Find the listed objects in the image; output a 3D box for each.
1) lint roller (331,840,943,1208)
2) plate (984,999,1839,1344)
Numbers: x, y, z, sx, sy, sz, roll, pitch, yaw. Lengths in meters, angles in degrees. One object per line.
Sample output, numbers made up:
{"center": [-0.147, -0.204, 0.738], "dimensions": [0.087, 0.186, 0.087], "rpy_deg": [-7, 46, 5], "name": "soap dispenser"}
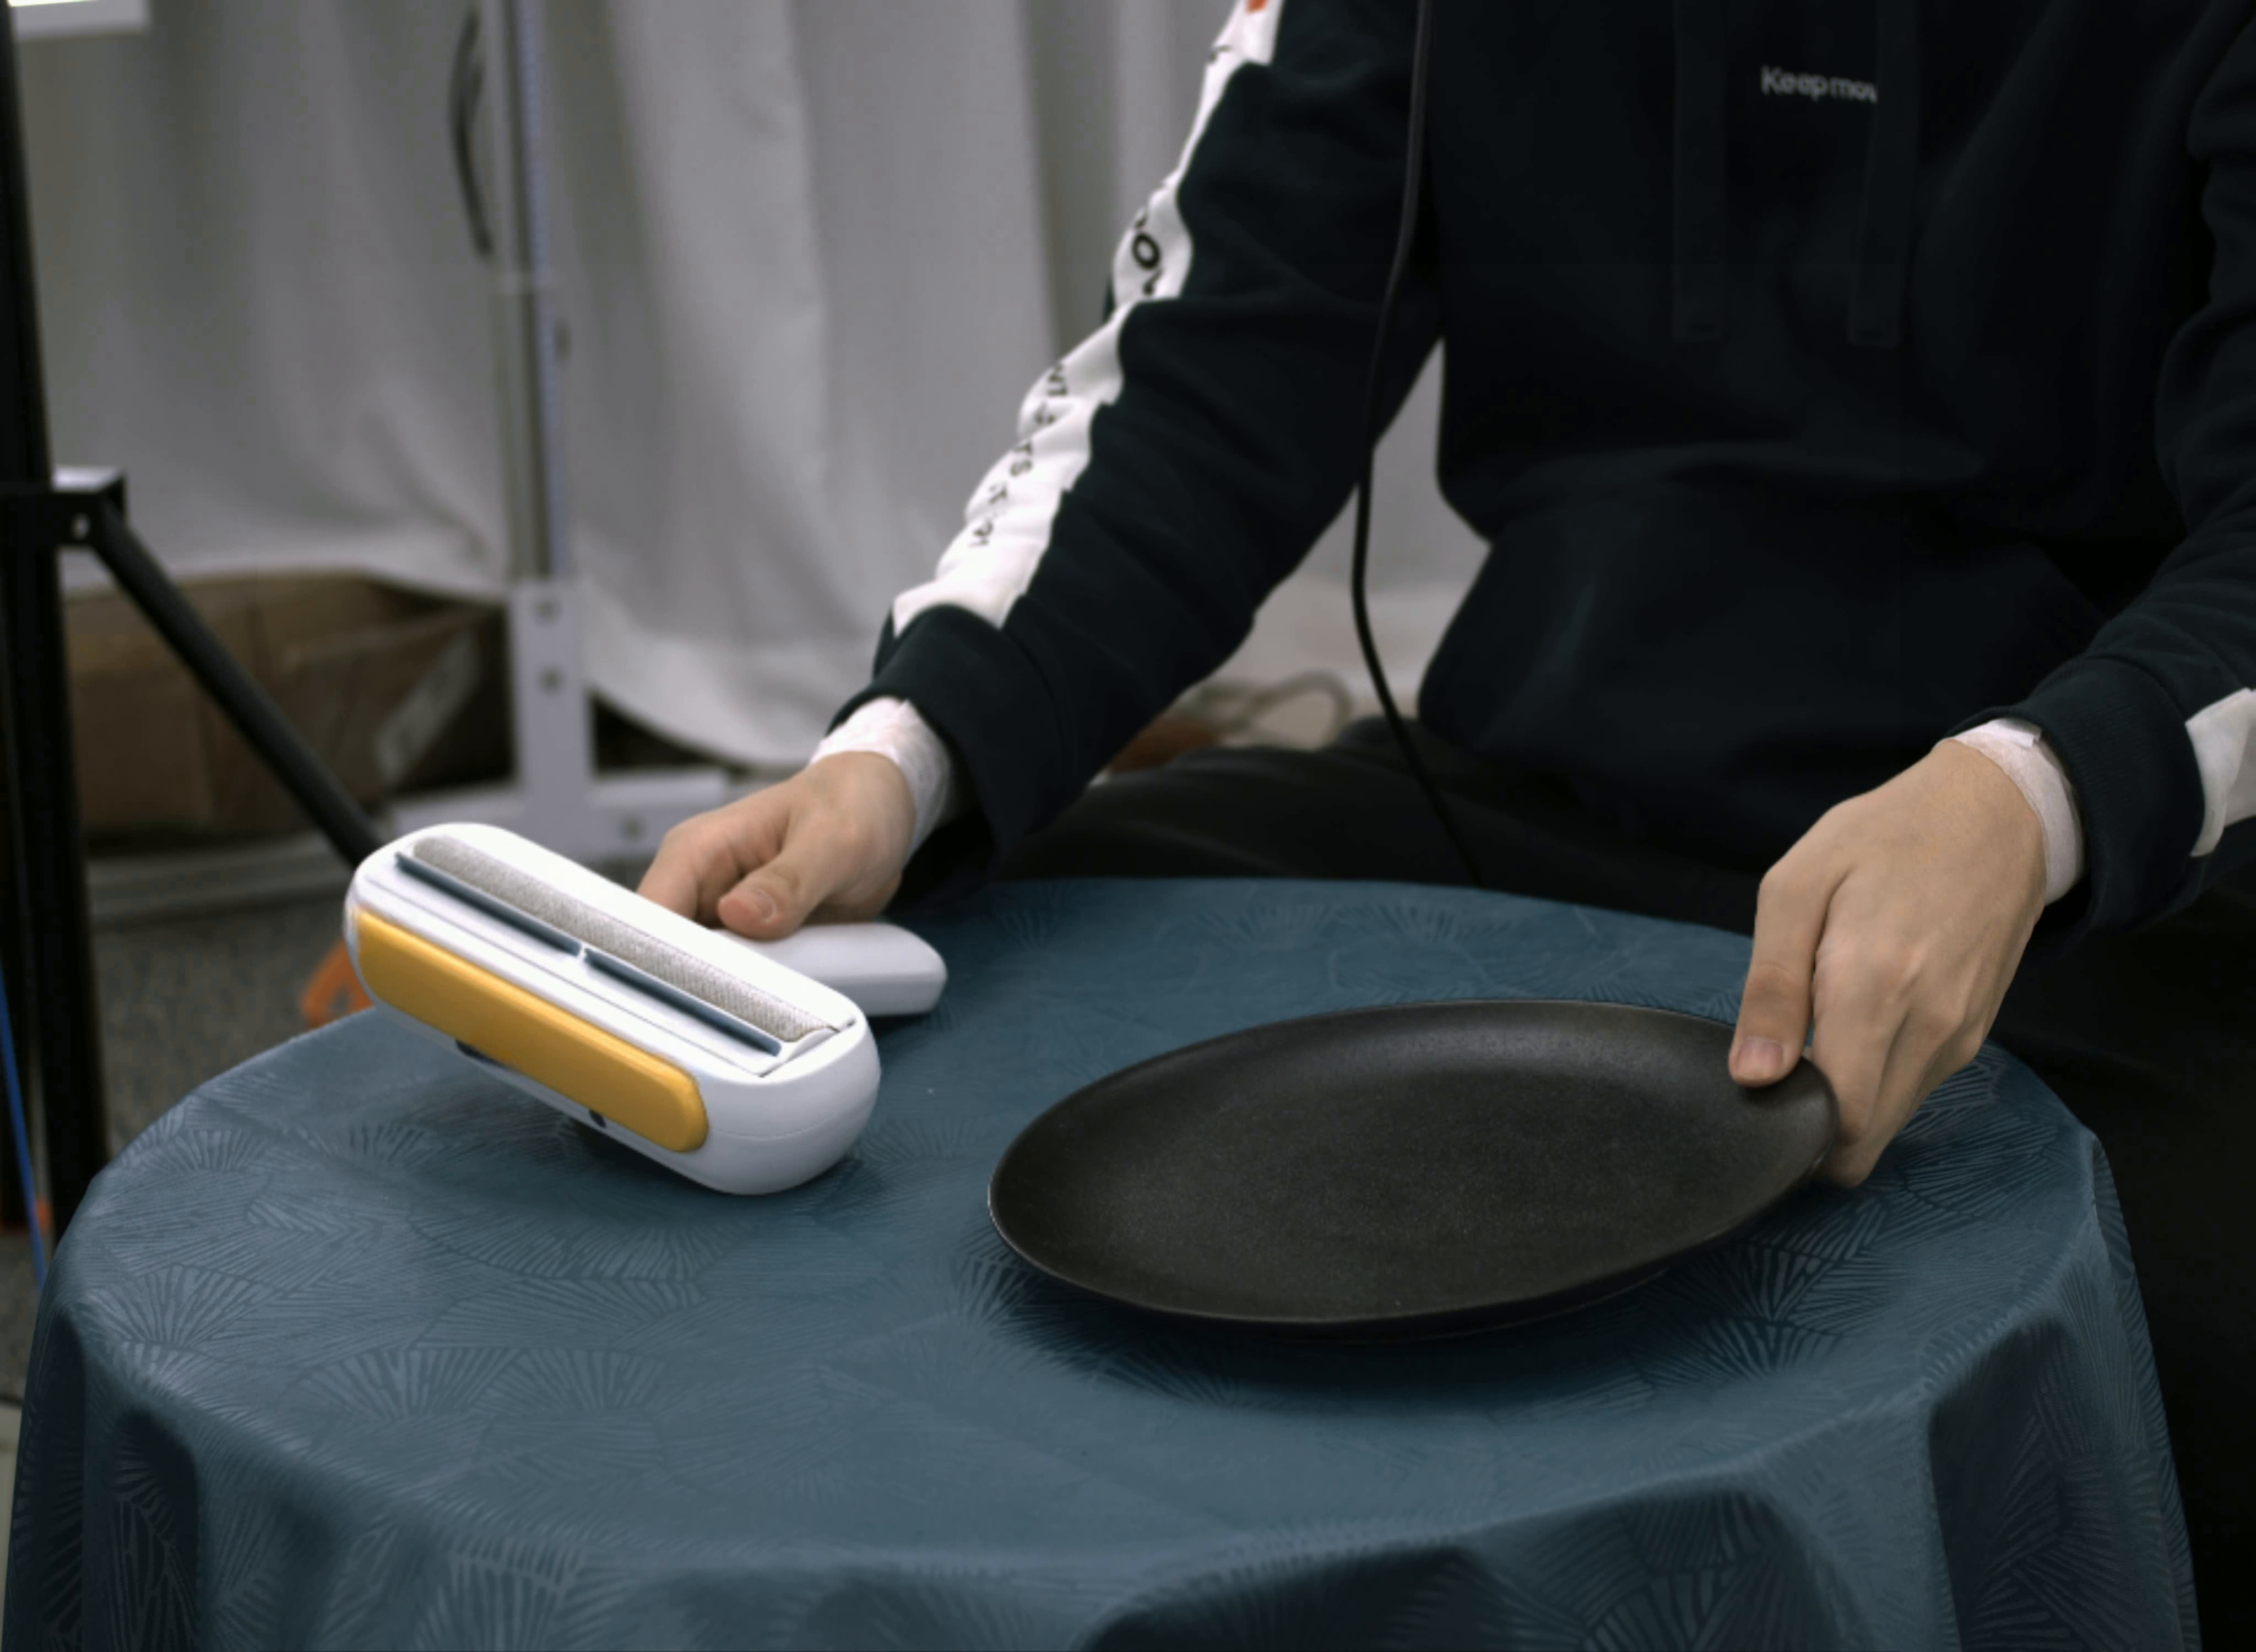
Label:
{"center": [-0.129, 0.065, 1.672], "dimensions": [0.197, 0.074, 0.187], "rpy_deg": [23, 15, 40], "name": "lint roller"}
{"center": [0.081, 0.101, 1.500], "dimensions": [0.243, 0.023, 0.246], "rpy_deg": [-8, 17, 1], "name": "plate"}
